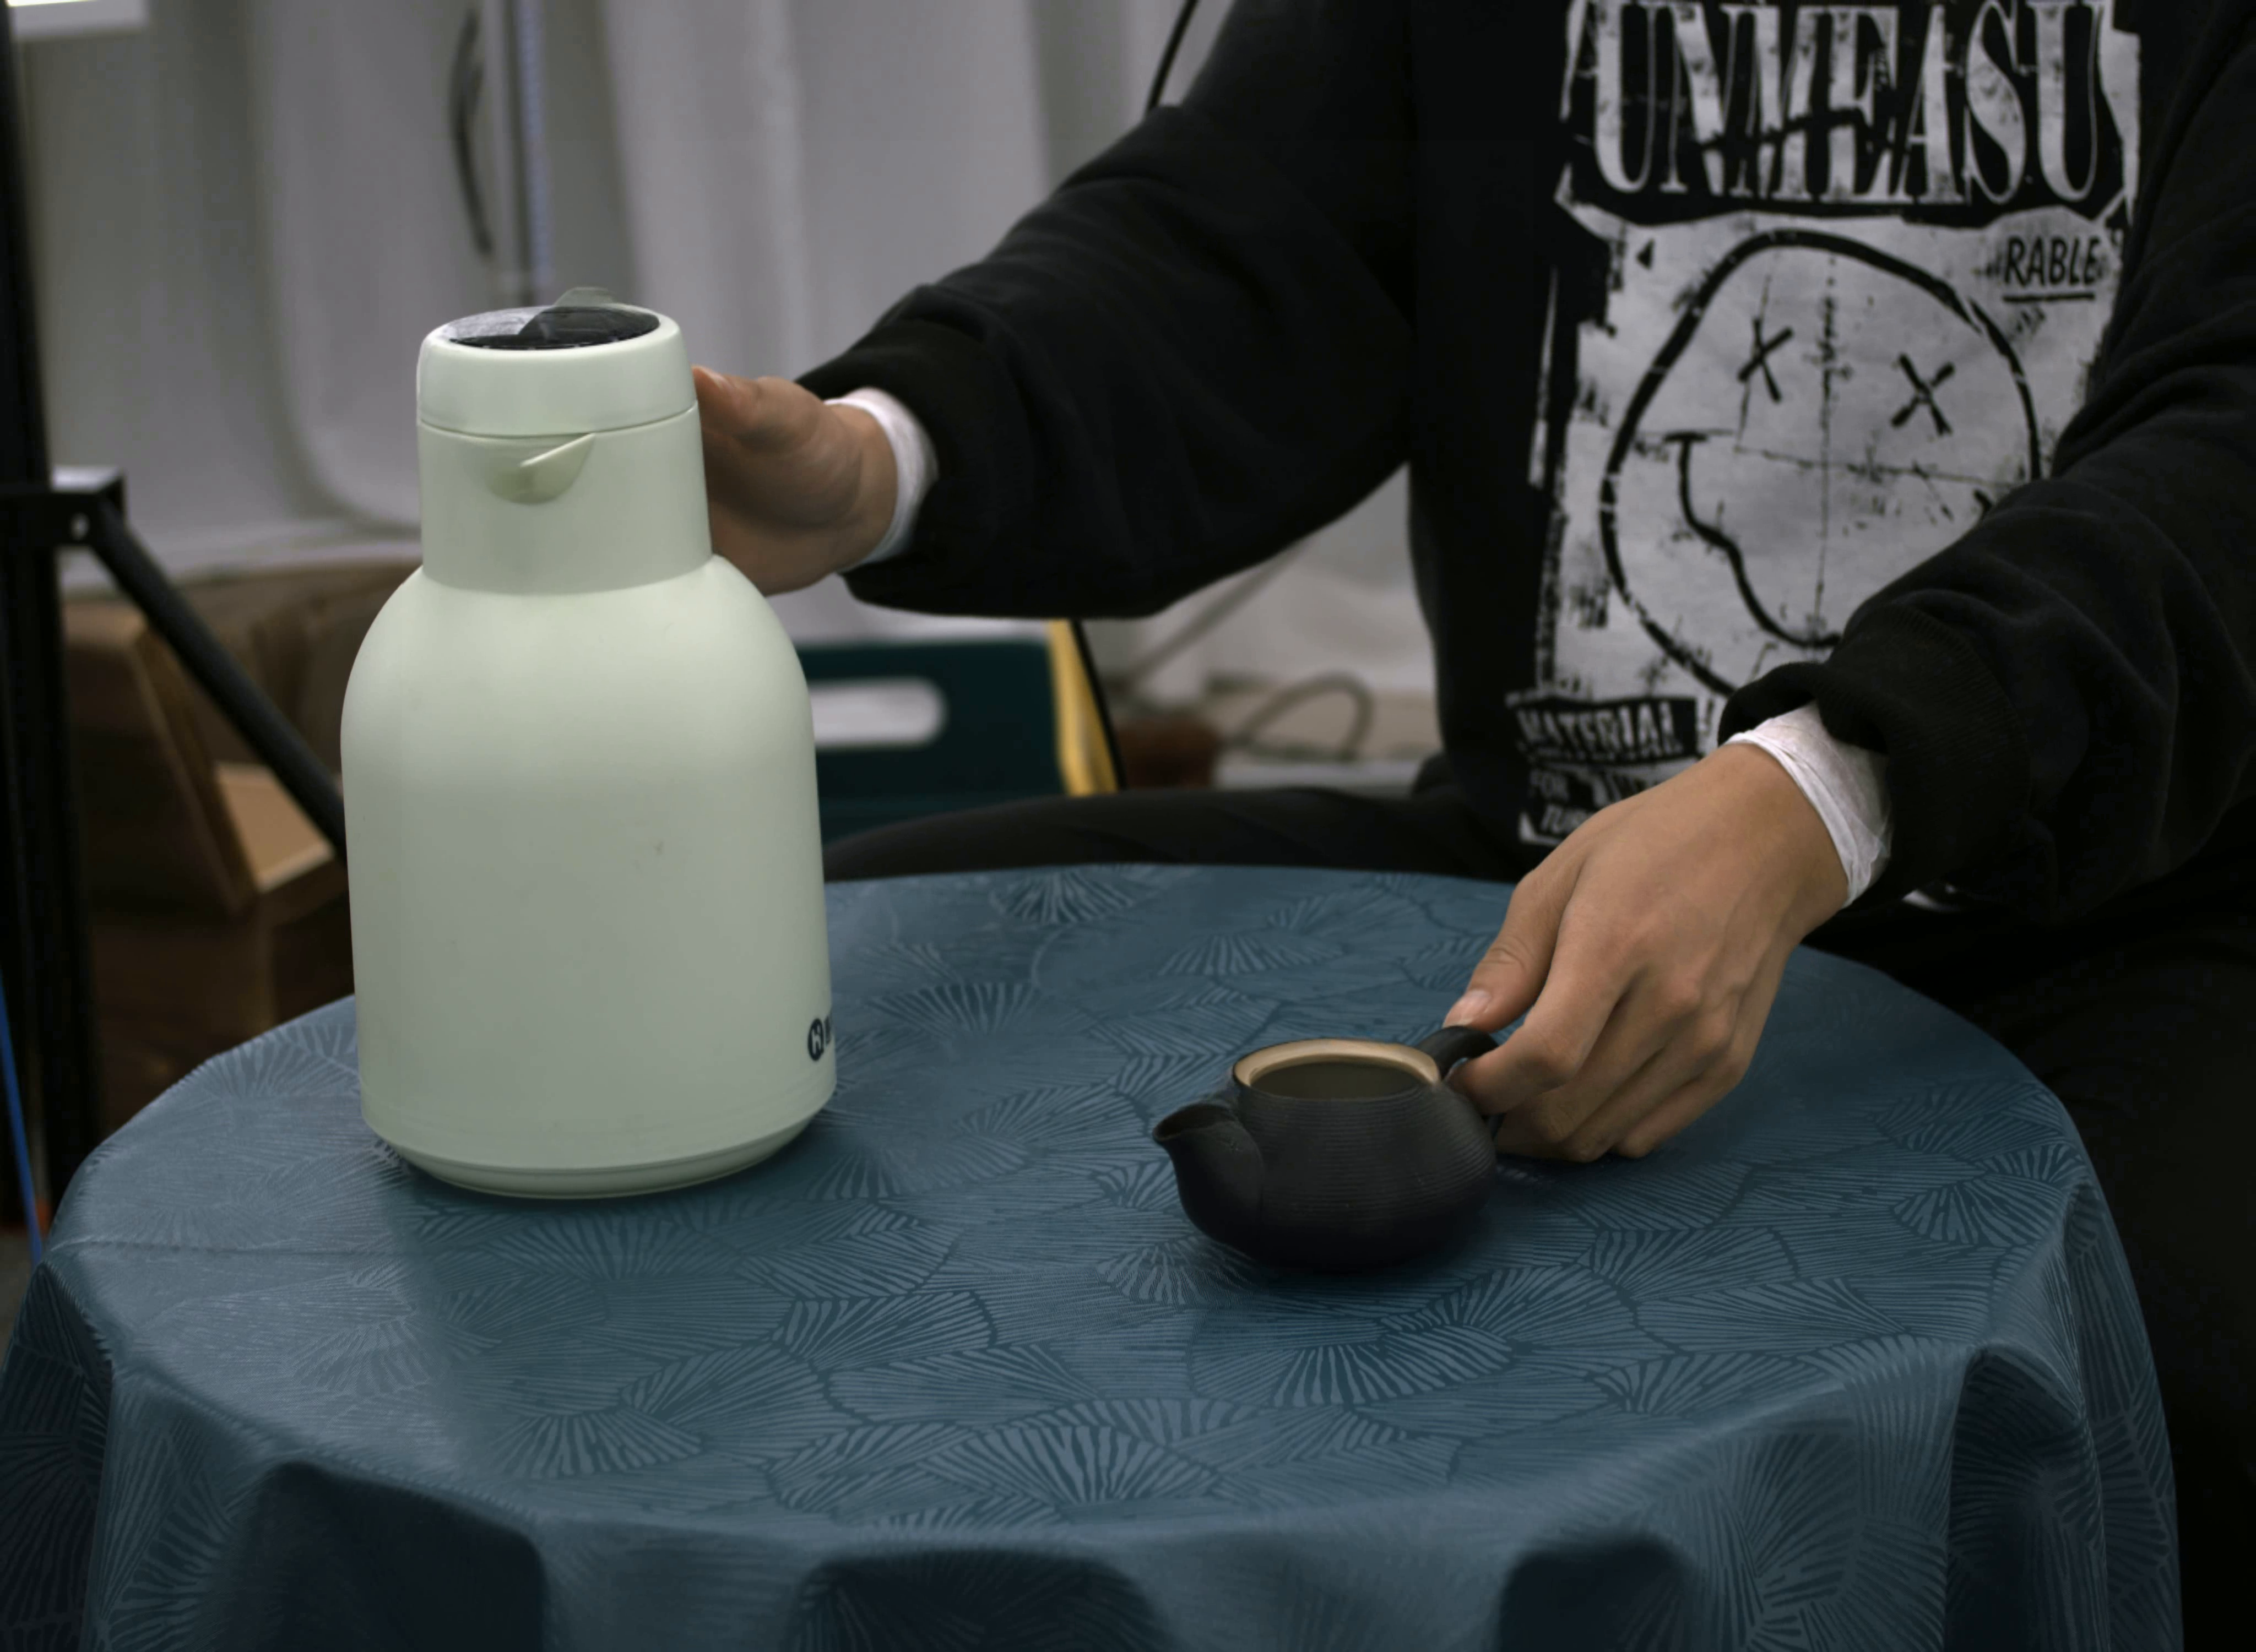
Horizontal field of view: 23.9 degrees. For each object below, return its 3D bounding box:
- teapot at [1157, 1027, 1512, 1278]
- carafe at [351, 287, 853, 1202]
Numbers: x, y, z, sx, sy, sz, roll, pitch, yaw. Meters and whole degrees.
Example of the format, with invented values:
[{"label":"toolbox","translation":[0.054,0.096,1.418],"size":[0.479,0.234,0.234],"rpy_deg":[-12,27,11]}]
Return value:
[{"label":"teapot","translation":[0.061,0.094,1.498],"size":[0.130,0.053,0.093],"rpy_deg":[-16,22,-38]},{"label":"carafe","translation":[-0.160,-0.029,1.611],"size":[0.145,0.257,0.186],"rpy_deg":[-2,12,9]}]
